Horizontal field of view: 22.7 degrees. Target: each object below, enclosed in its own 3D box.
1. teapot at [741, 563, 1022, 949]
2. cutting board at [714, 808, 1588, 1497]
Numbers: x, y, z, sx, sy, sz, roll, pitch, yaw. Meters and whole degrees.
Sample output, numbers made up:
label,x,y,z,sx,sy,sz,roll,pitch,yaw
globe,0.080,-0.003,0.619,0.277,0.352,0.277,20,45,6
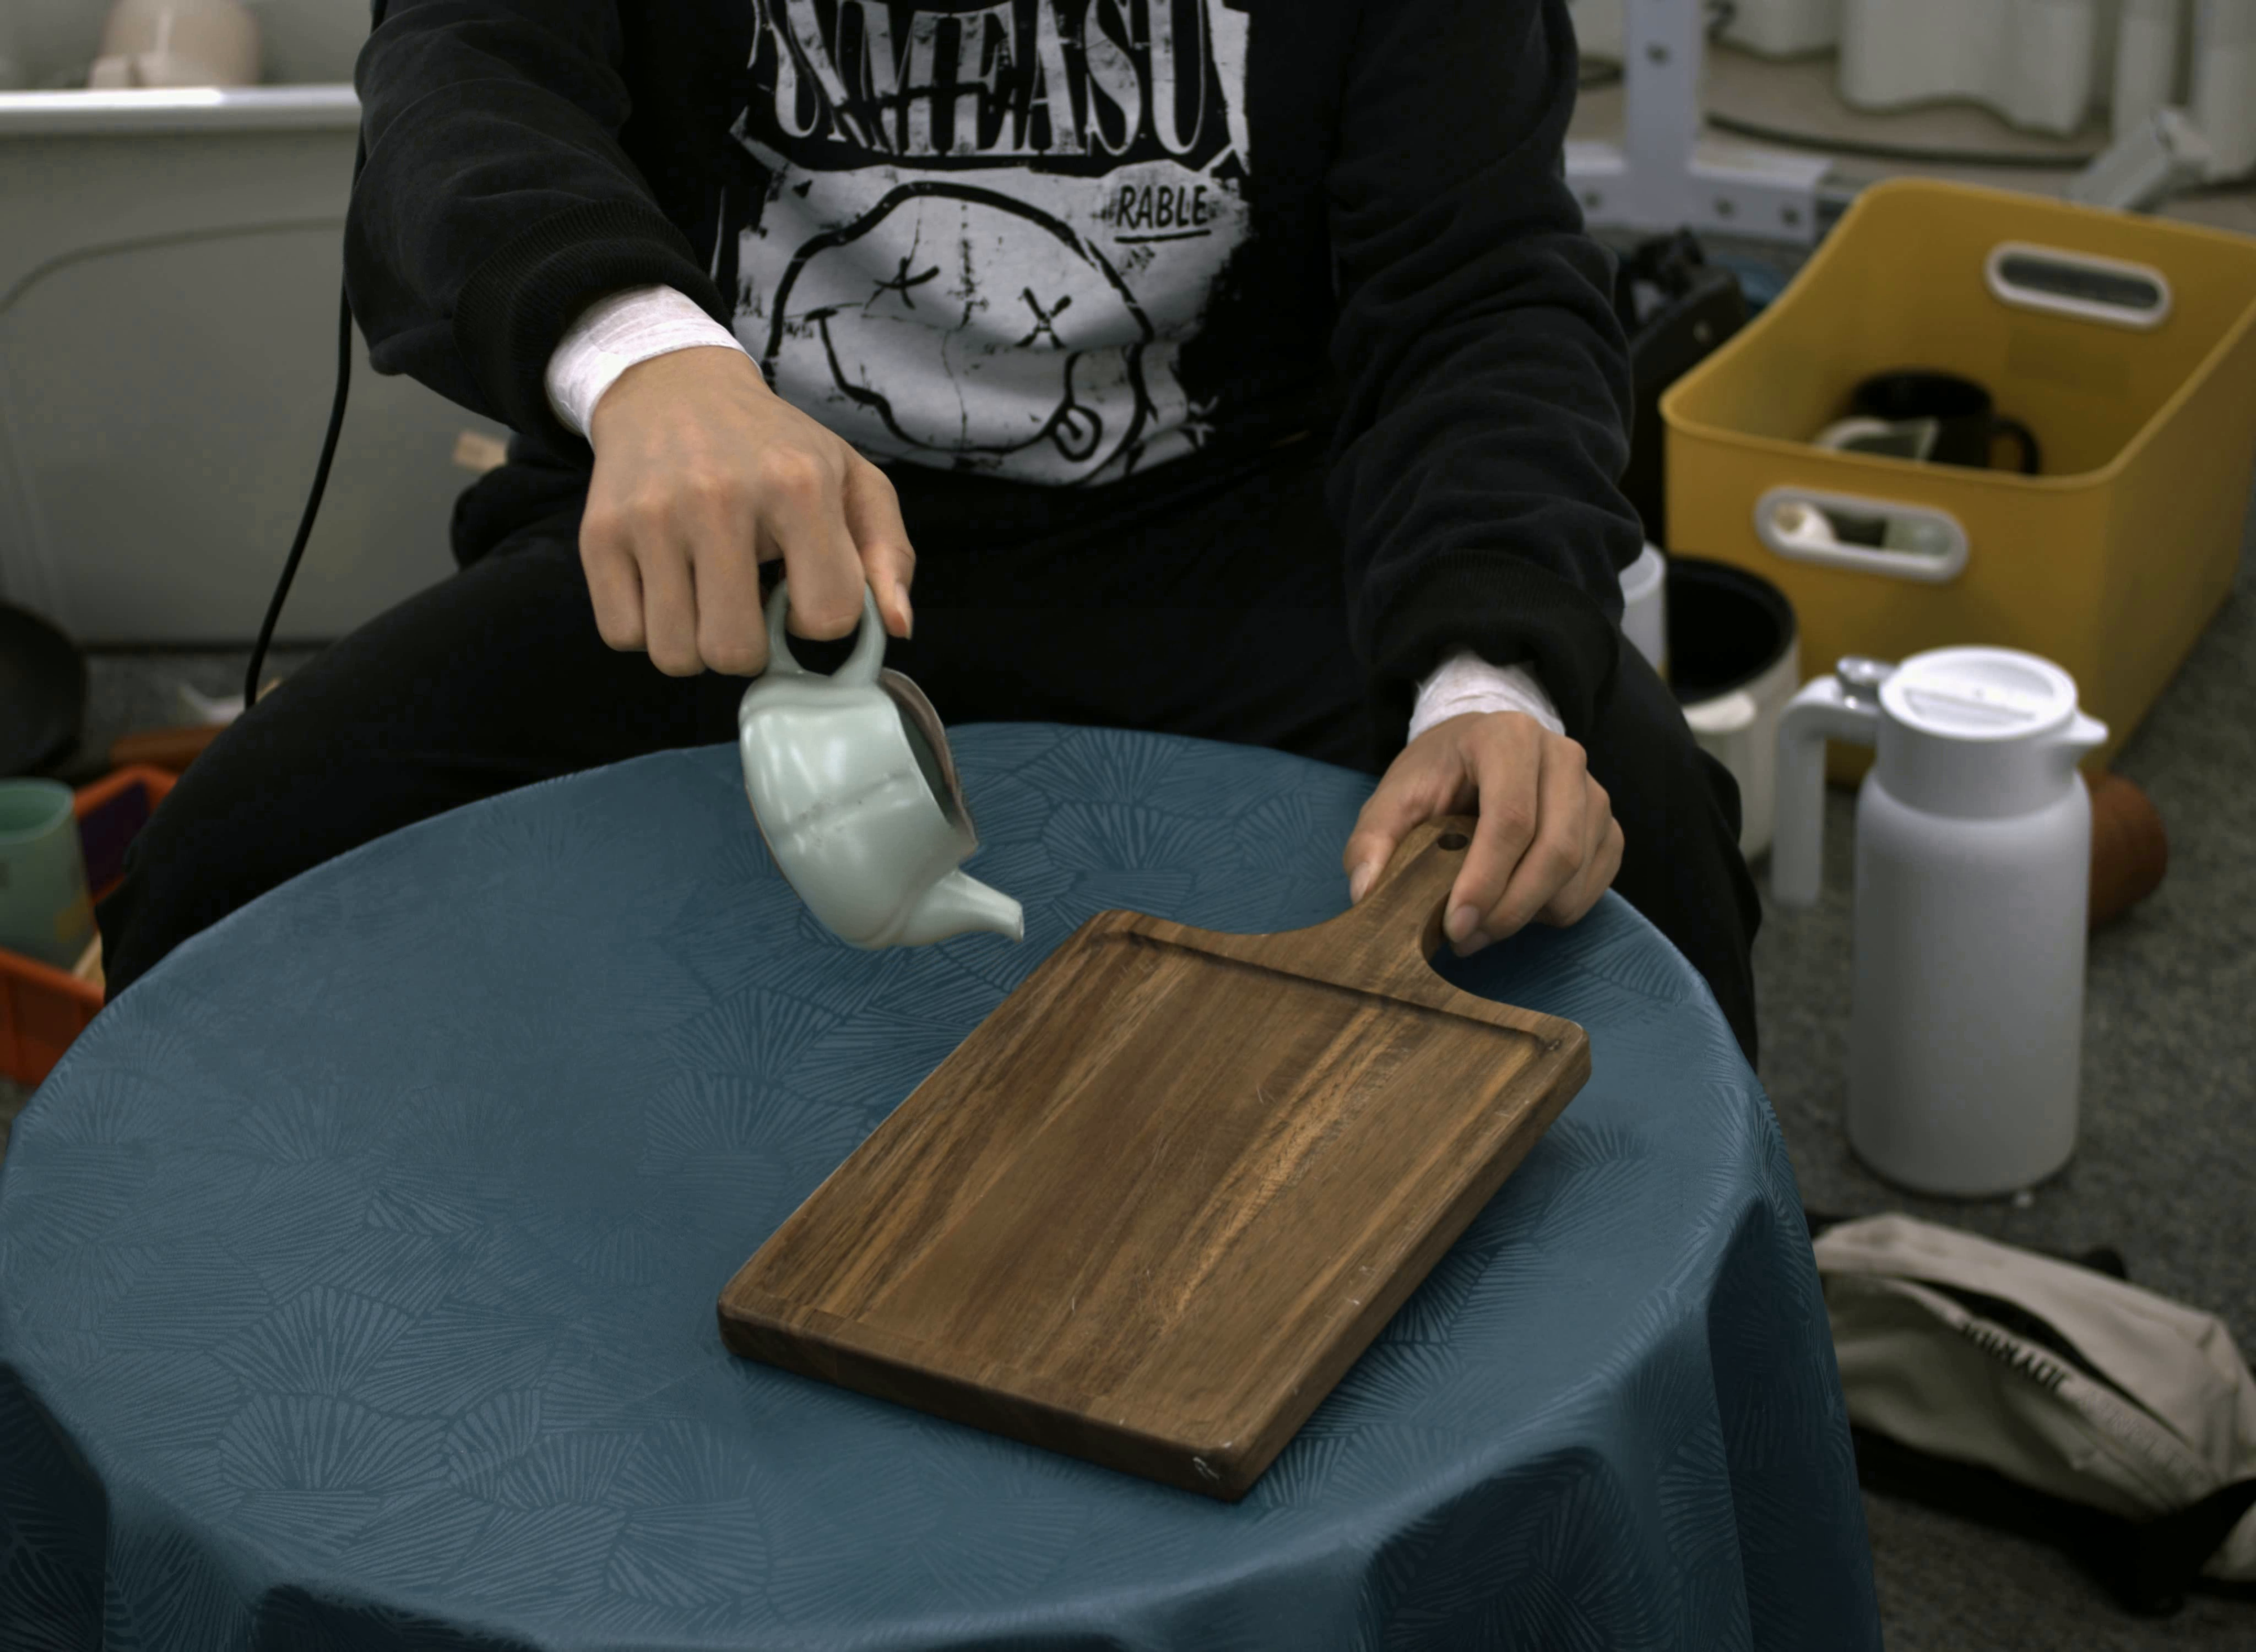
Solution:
label,x,y,z,sx,sy,sz,roll,pitch,yaw
teapot,-0.085,-0.015,1.787,0.061,0.137,0.097,-22,8,10
cutting board,0.035,0.091,1.860,0.200,0.023,0.358,12,36,27
